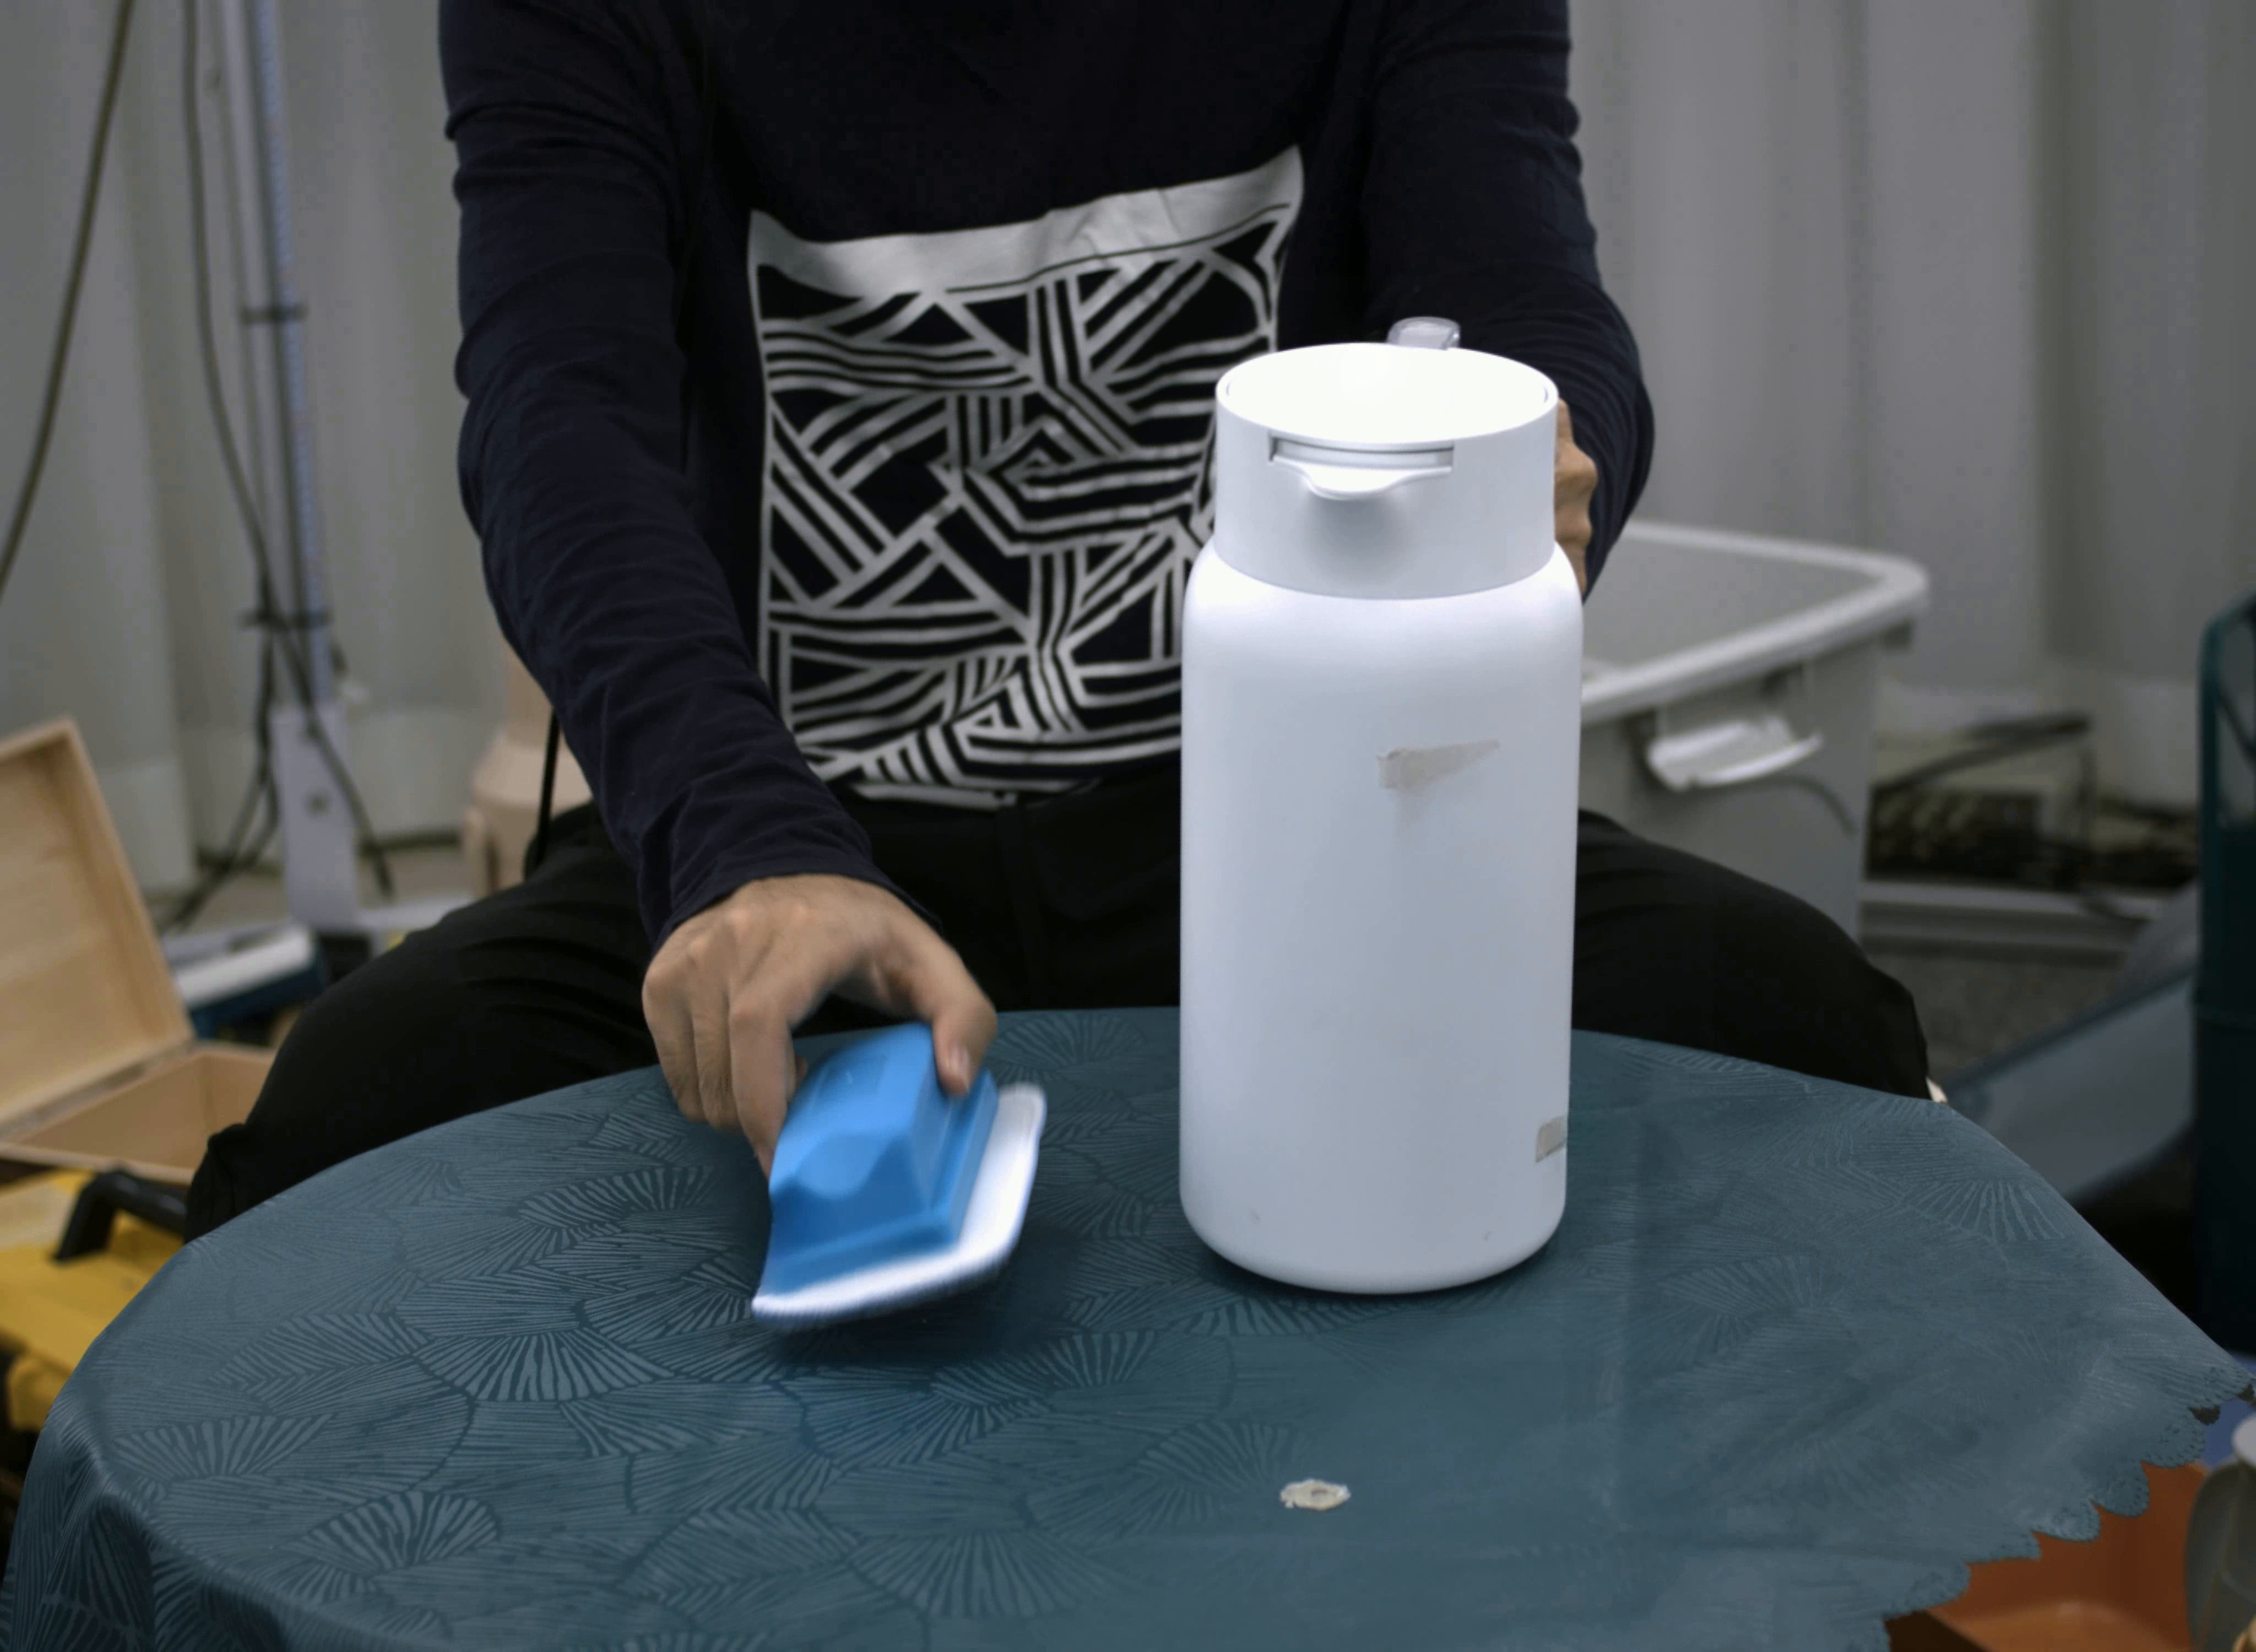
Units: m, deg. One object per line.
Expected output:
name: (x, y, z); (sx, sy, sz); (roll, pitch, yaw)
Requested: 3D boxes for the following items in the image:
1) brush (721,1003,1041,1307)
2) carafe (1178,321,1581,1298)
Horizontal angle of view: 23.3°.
brush: (-0.076, 0.095, 1.636); (0.083, 0.055, 0.145); (-10, 20, 10)
carafe: (0.075, -0.009, 1.627); (0.123, 0.267, 0.174); (1, 19, 10)
